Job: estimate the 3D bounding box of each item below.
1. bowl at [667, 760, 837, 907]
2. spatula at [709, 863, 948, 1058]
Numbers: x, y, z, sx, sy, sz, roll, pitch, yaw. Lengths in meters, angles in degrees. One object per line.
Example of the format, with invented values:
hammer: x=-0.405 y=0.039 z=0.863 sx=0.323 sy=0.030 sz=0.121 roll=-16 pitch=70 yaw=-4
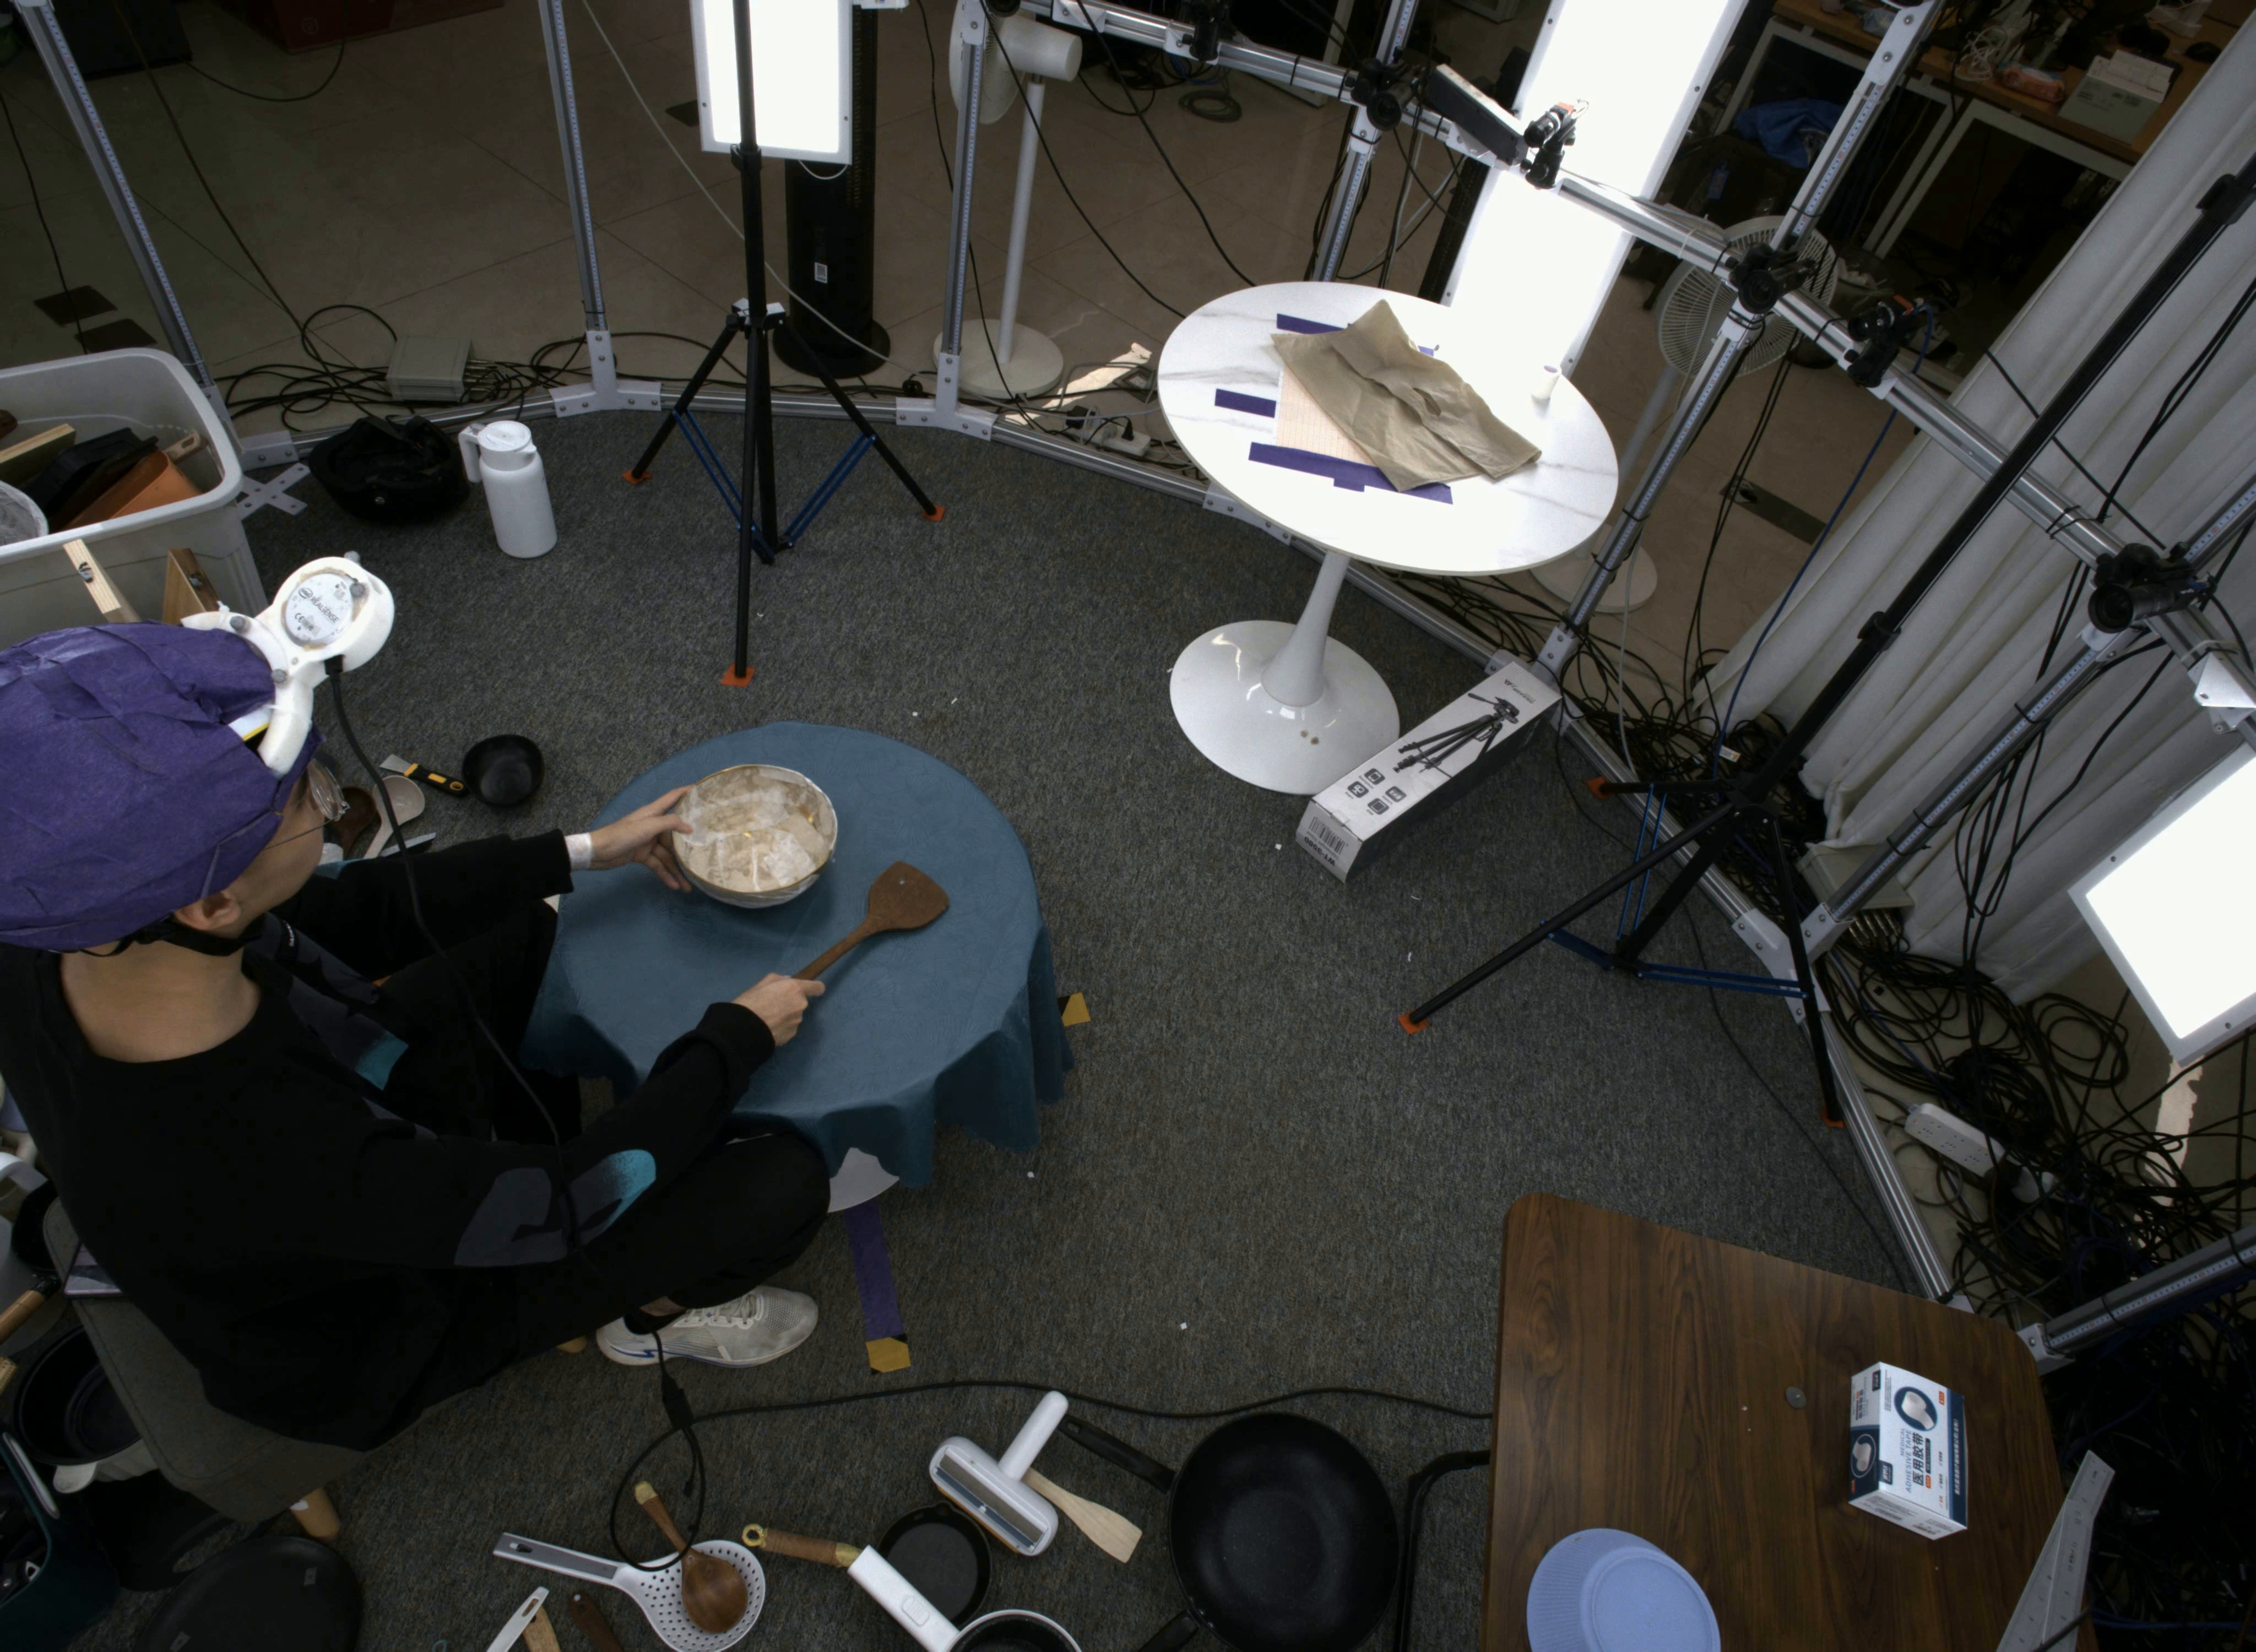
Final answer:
bowl: x=-0.475 y=0.023 z=1.637 sx=0.214 sy=0.096 sz=0.211 roll=8 pitch=54 yaw=-10
spatula: x=-0.365 y=0.160 z=1.582 sx=0.095 sy=0.016 sz=0.386 roll=38 pitch=44 yaw=10
